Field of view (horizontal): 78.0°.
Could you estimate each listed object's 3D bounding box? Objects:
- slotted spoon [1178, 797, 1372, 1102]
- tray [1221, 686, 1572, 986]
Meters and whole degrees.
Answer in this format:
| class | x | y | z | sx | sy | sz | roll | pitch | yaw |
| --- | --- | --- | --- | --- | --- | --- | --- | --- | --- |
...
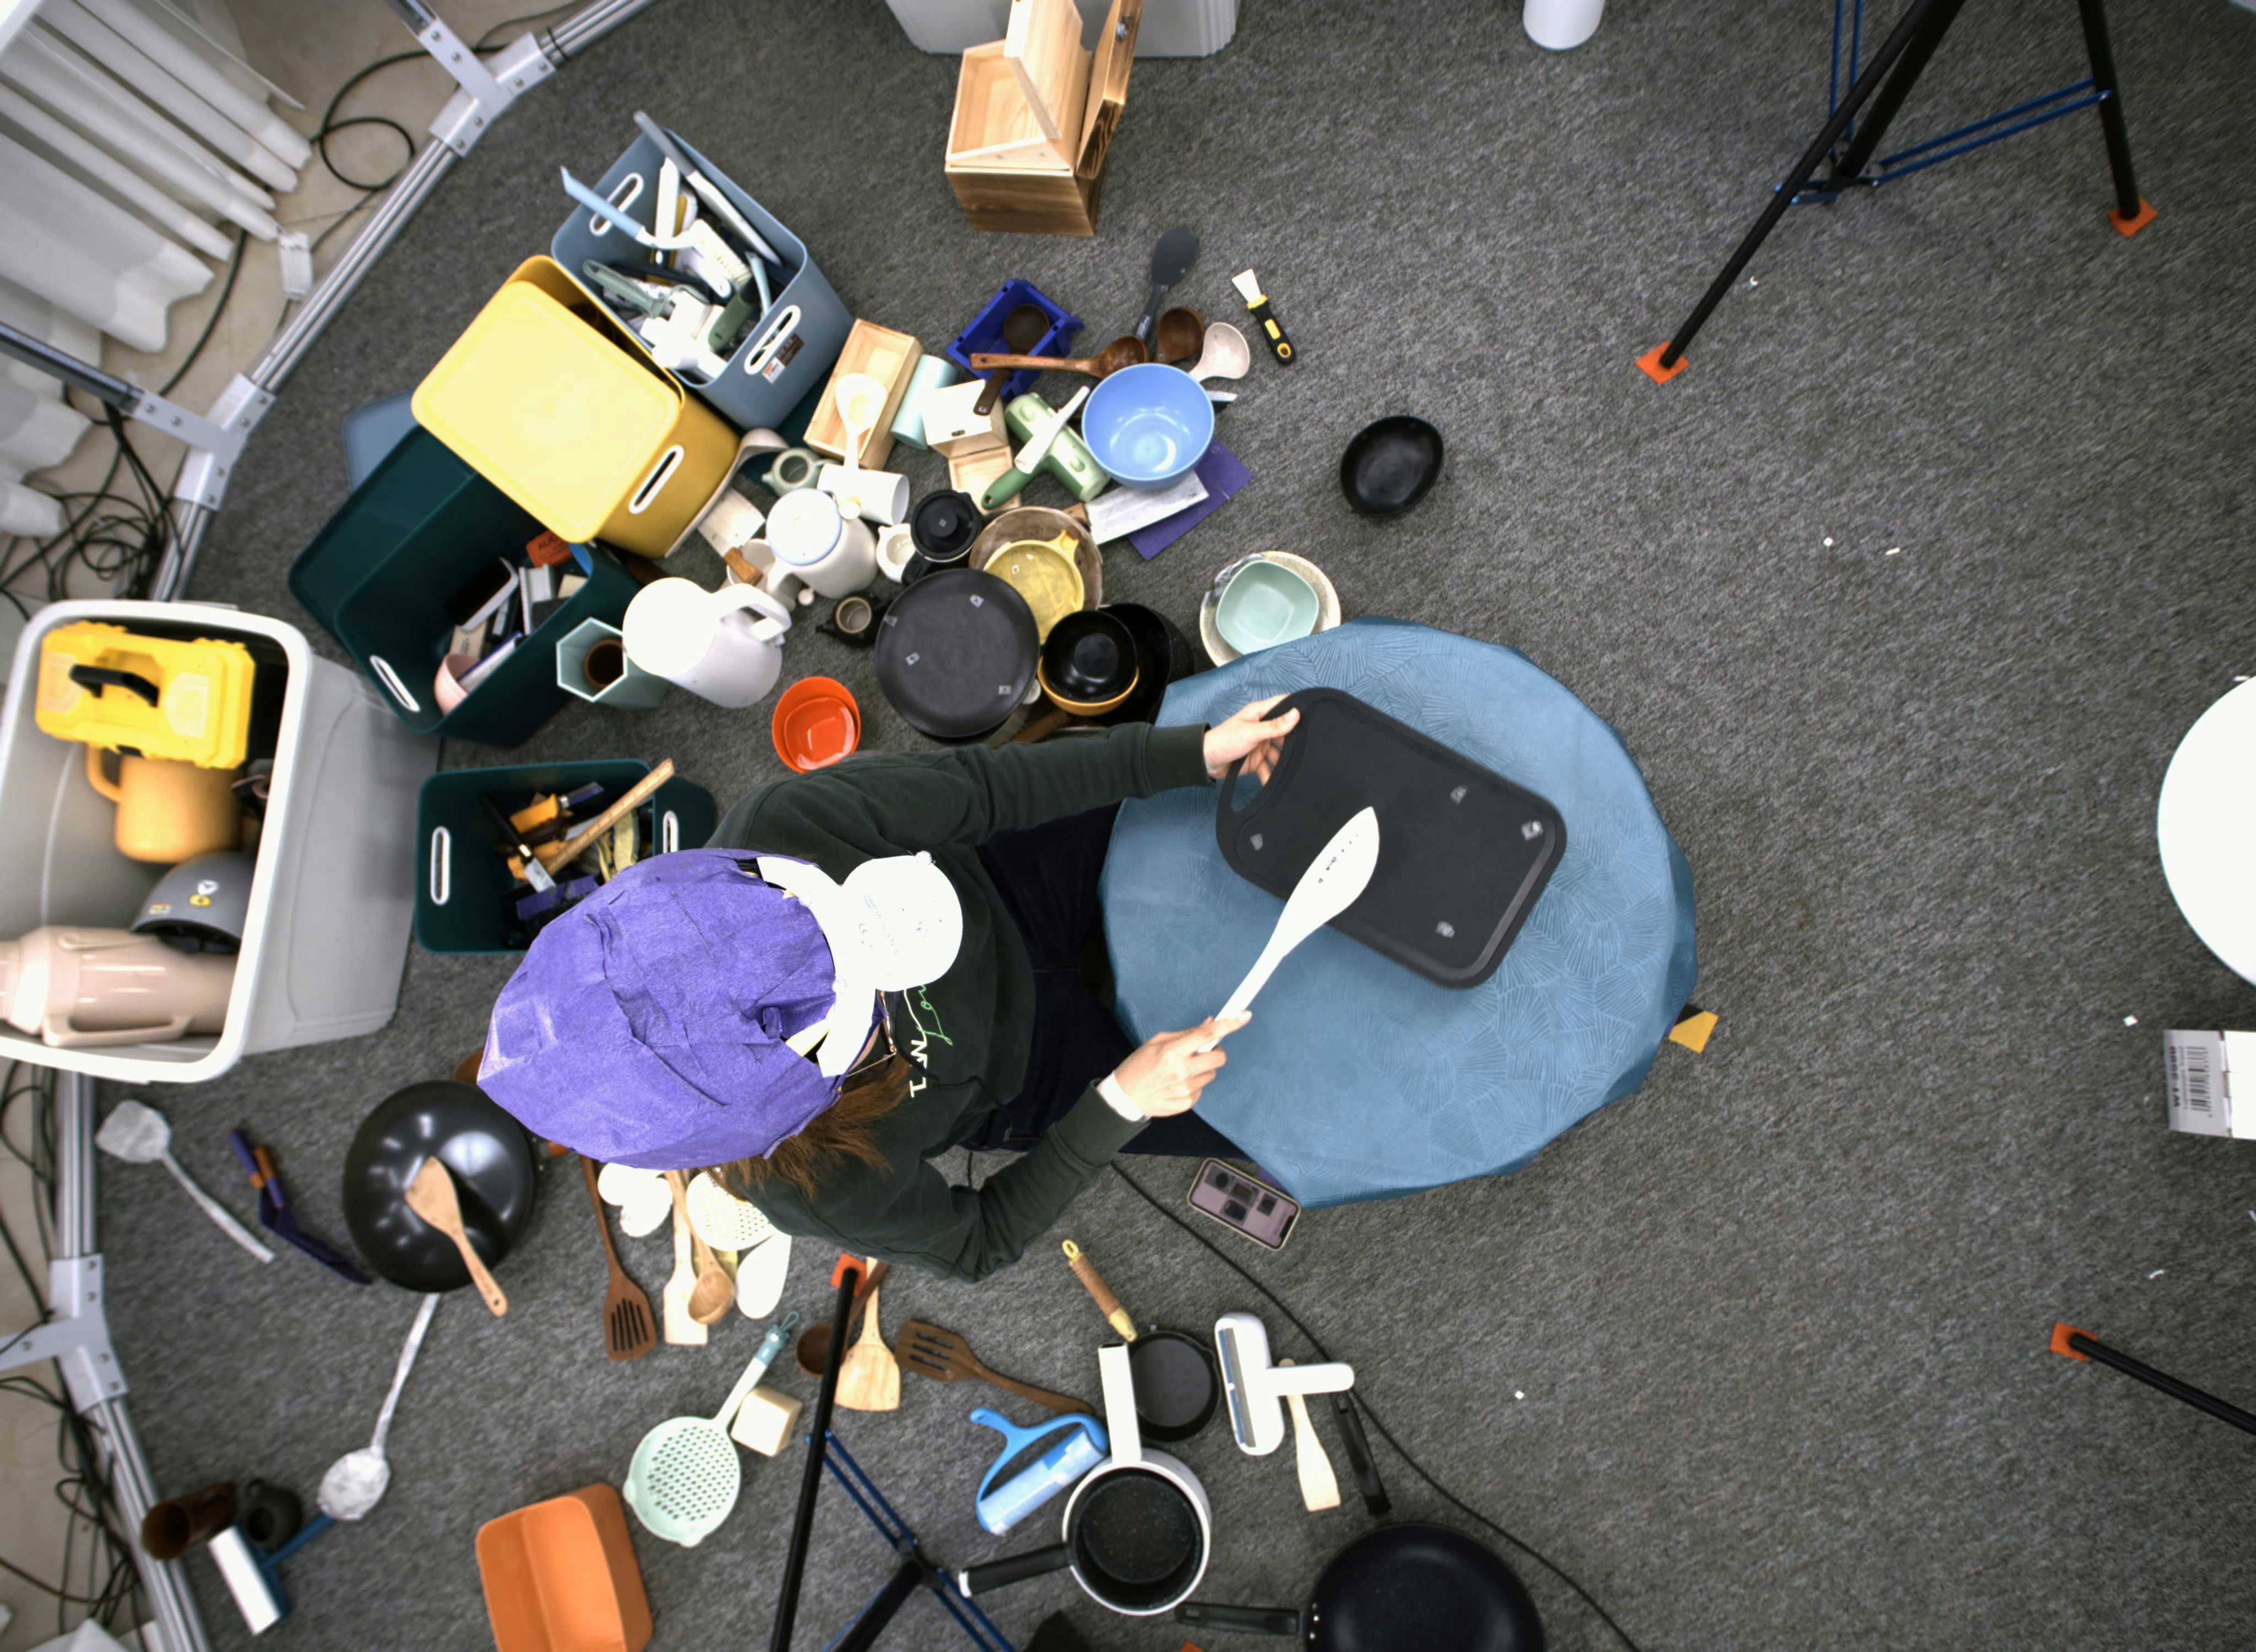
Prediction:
| class | x | y | z | sx | sy | sz | roll | pitch | yaw |
| --- | --- | --- | --- | --- | --- | --- | --- | --- | --- |
| slotted spoon | 0.138 | 0.125 | 1.330 | 0.045 | 0.134 | 0.355 | 37 | 110 | 9 |
| tray | 0.252 | 0.005 | 1.350 | 0.325 | 0.010 | 0.213 | 29 | 101 | 8 |
